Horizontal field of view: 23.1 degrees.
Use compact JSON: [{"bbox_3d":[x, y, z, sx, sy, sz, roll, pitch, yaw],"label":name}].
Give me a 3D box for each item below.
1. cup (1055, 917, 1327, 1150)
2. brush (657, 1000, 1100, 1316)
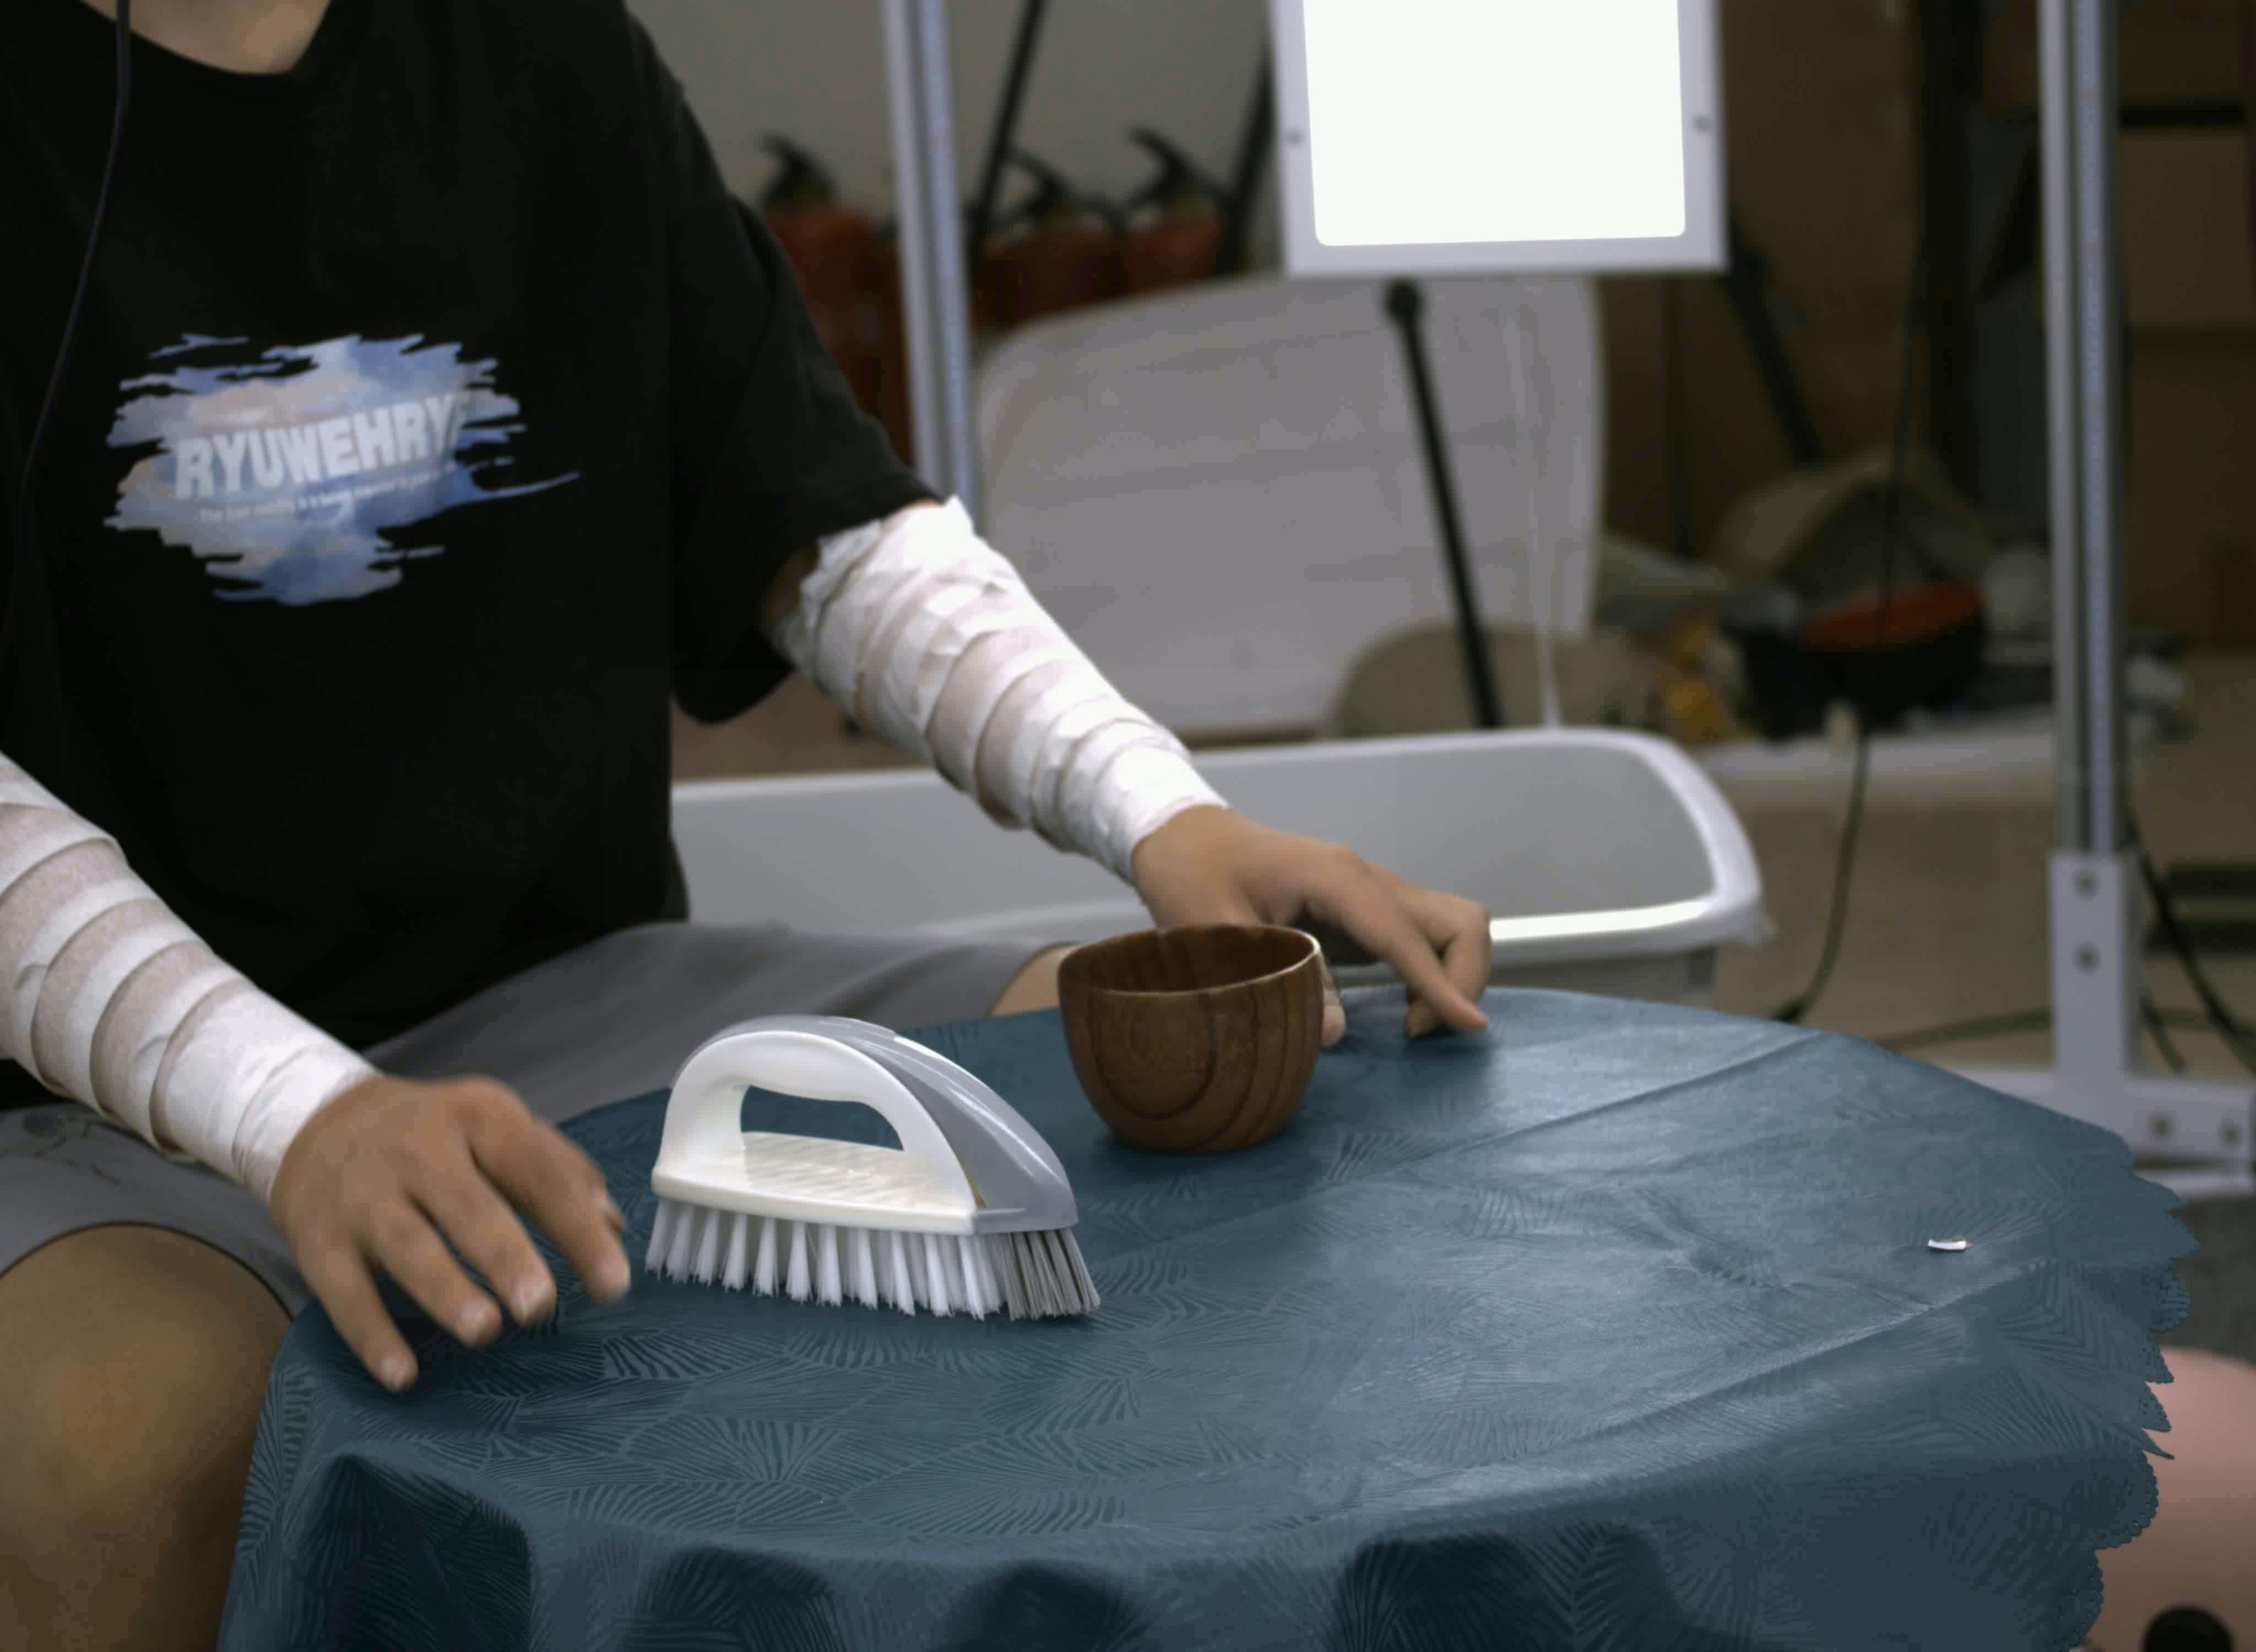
[{"bbox_3d":[0.032,0.073,1.965,0.098,0.068,0.116,1,14,33],"label":"cup"},{"bbox_3d":[-0.082,0.107,1.817,0.179,0.094,0.060,10,24,39],"label":"brush"}]
